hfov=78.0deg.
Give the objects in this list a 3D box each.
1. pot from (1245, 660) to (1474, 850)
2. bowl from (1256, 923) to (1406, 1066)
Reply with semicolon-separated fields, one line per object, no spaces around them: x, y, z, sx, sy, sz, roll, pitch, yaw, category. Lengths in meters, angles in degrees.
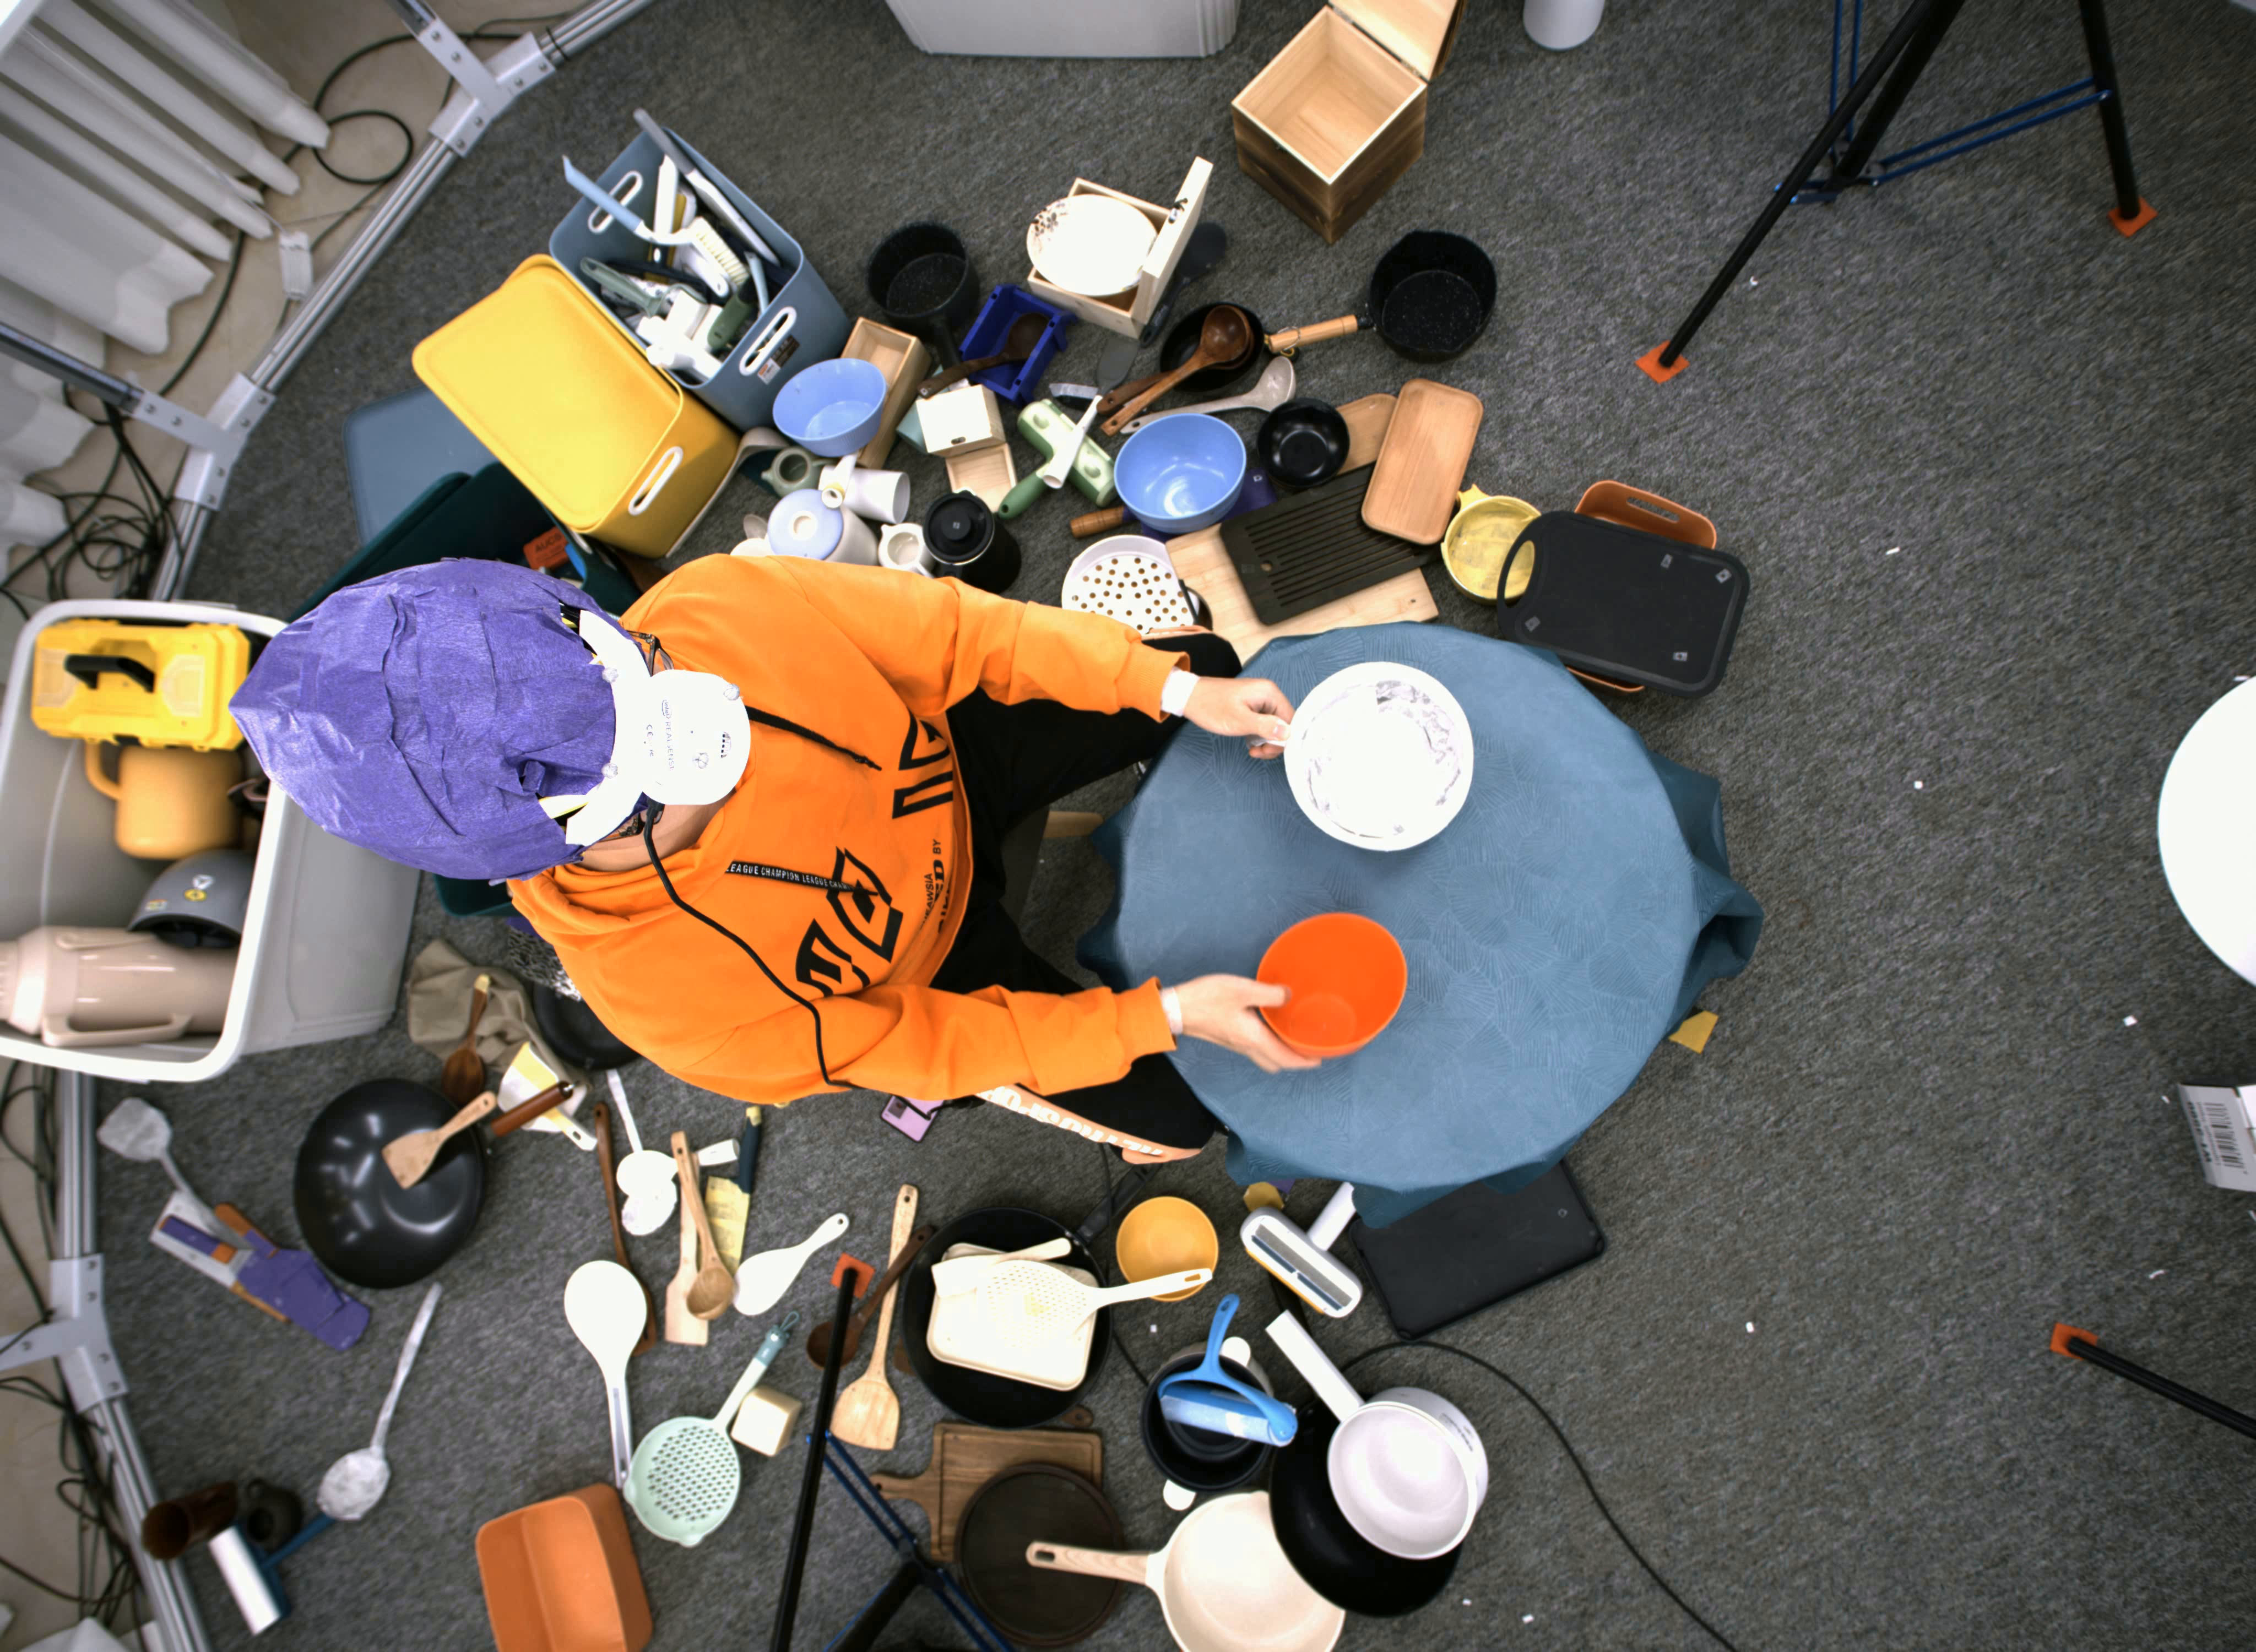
0.225;-0.072;1.365;0.234;0.136;0.179;13;92;14;pot
0.205;0.182;1.387;0.148;0.107;0.144;-7;51;8;bowl
